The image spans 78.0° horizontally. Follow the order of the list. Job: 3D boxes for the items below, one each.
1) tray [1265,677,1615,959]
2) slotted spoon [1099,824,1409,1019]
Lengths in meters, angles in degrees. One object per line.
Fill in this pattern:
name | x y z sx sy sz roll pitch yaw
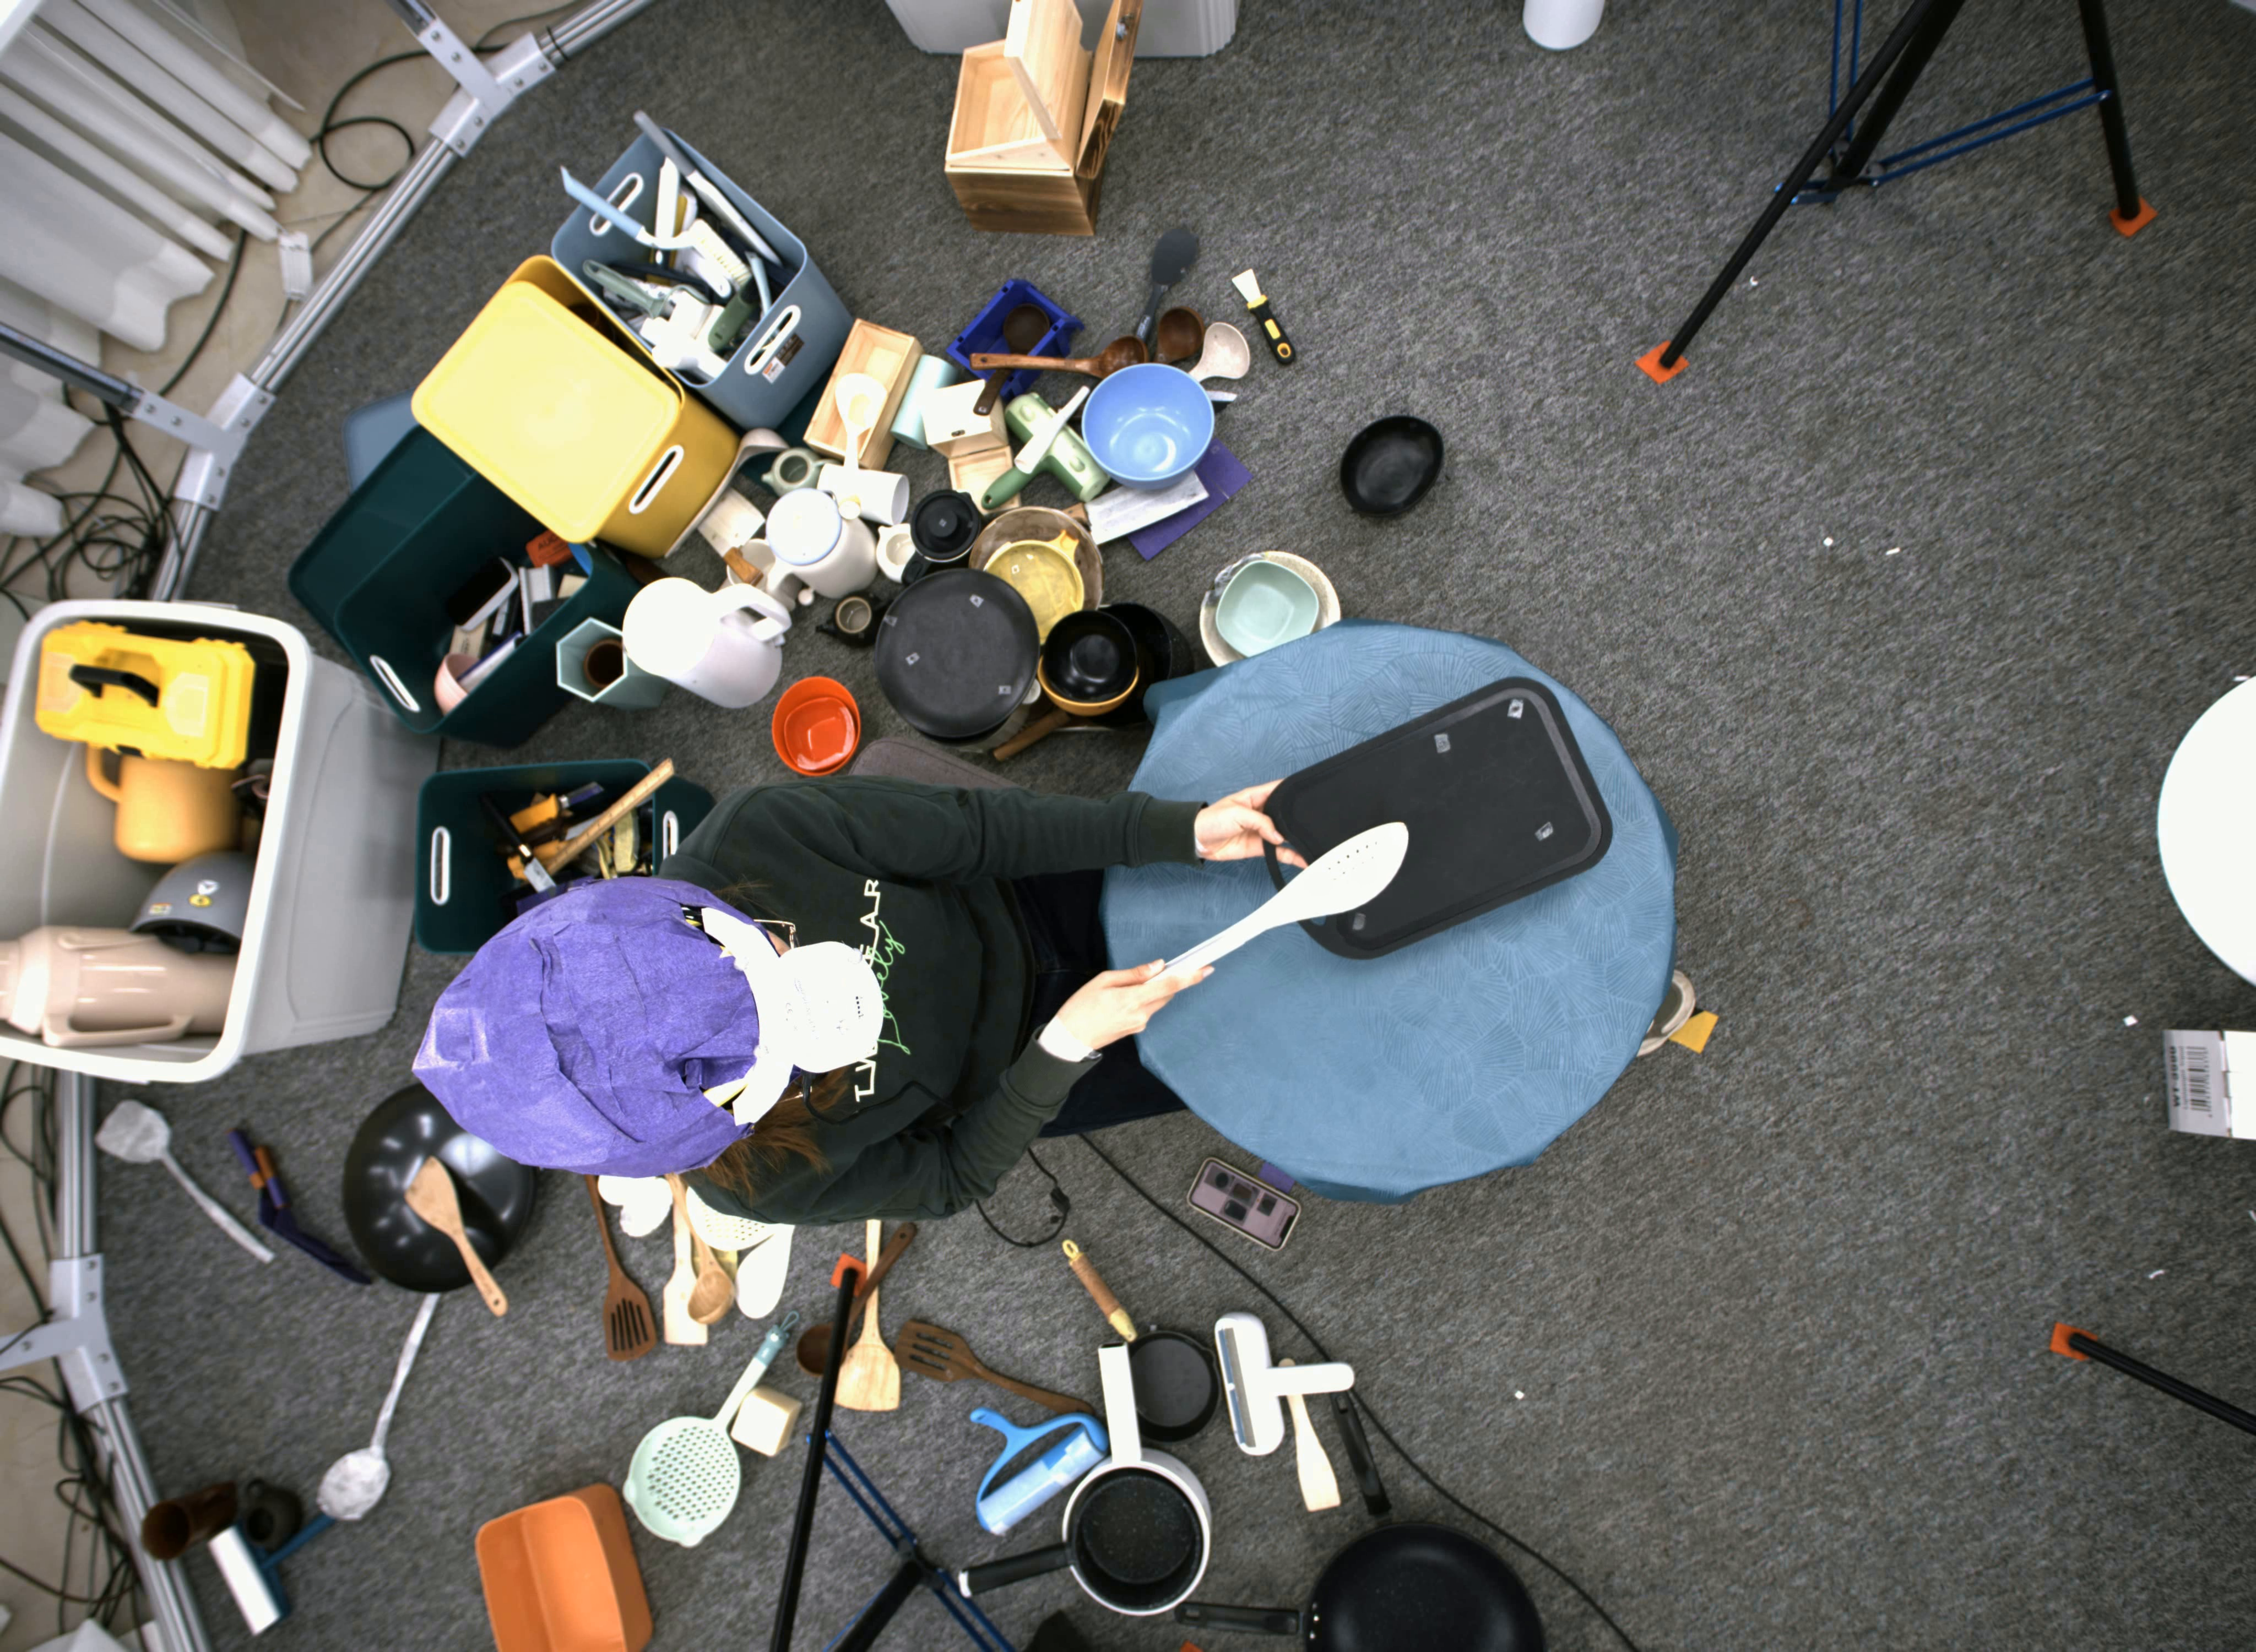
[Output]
tray | 0.298 0.000 1.353 0.329 0.009 0.212 -25 102 16
slotted spoon | 0.120 0.096 1.338 0.353 0.134 0.046 -27 98 14
